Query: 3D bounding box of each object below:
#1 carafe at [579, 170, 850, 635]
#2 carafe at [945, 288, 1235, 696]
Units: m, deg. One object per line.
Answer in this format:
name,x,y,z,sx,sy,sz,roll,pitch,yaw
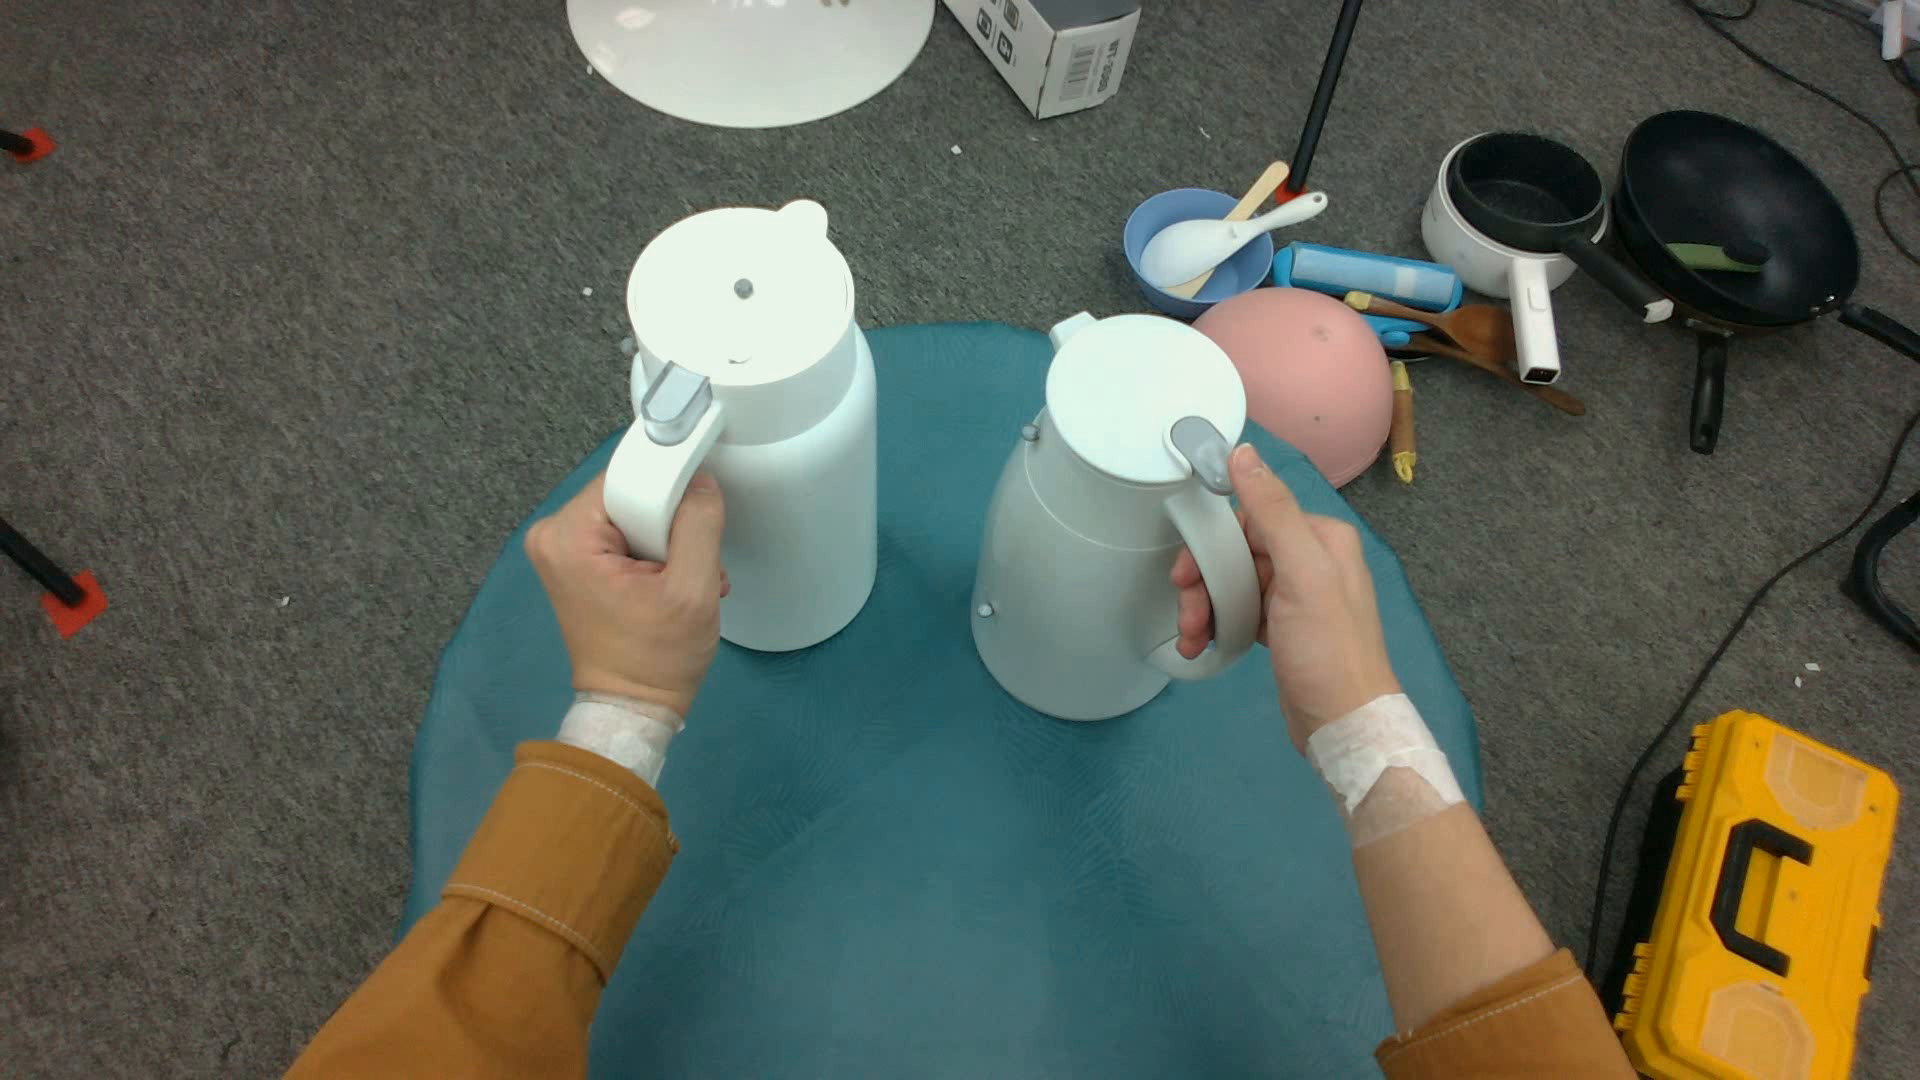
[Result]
carafe,-0.121,-0.040,0.706,0.124,0.267,0.173,23,63,5
carafe,0.076,-0.009,0.715,0.133,0.247,0.168,-28,69,-18
